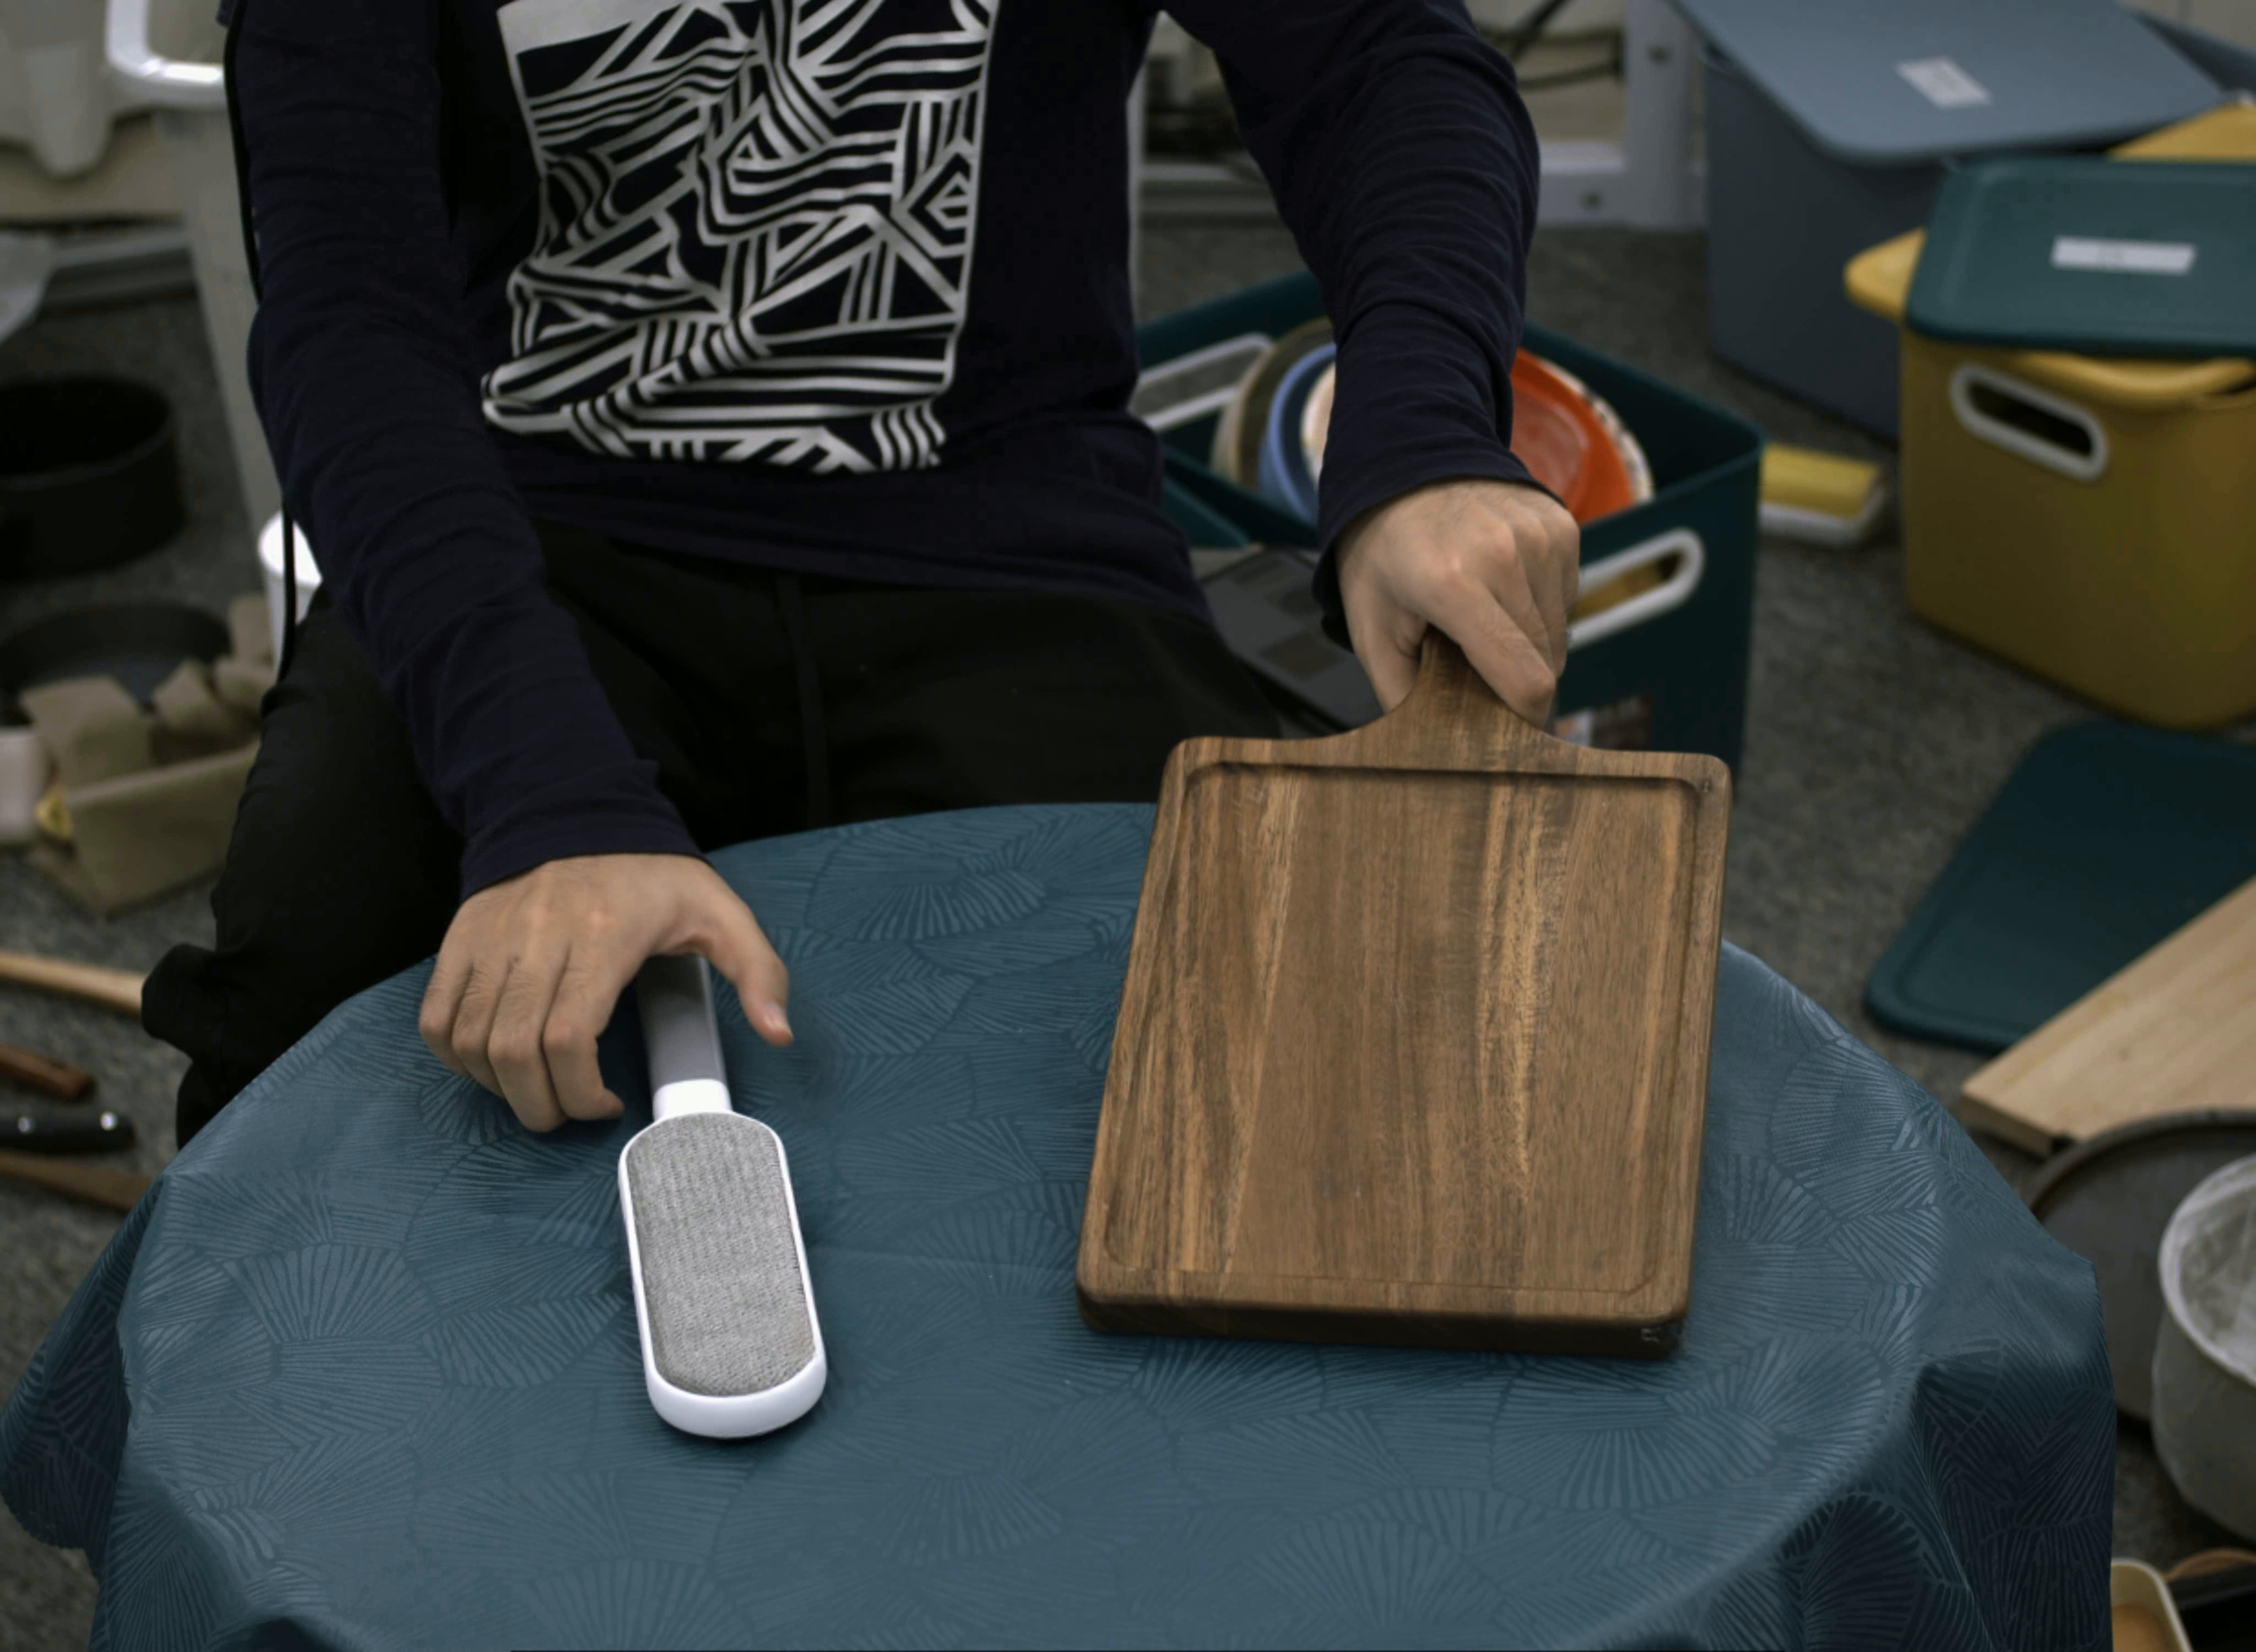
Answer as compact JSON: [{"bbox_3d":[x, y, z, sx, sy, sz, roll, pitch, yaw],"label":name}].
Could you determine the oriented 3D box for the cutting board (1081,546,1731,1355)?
[{"bbox_3d":[0.101,0.033,1.887,0.200,0.023,0.359,2,45,8],"label":"cutting board"}]

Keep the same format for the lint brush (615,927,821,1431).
[{"bbox_3d":[-0.140,0.112,1.865,0.060,0.021,0.313,-11,28,-4],"label":"lint brush"}]
